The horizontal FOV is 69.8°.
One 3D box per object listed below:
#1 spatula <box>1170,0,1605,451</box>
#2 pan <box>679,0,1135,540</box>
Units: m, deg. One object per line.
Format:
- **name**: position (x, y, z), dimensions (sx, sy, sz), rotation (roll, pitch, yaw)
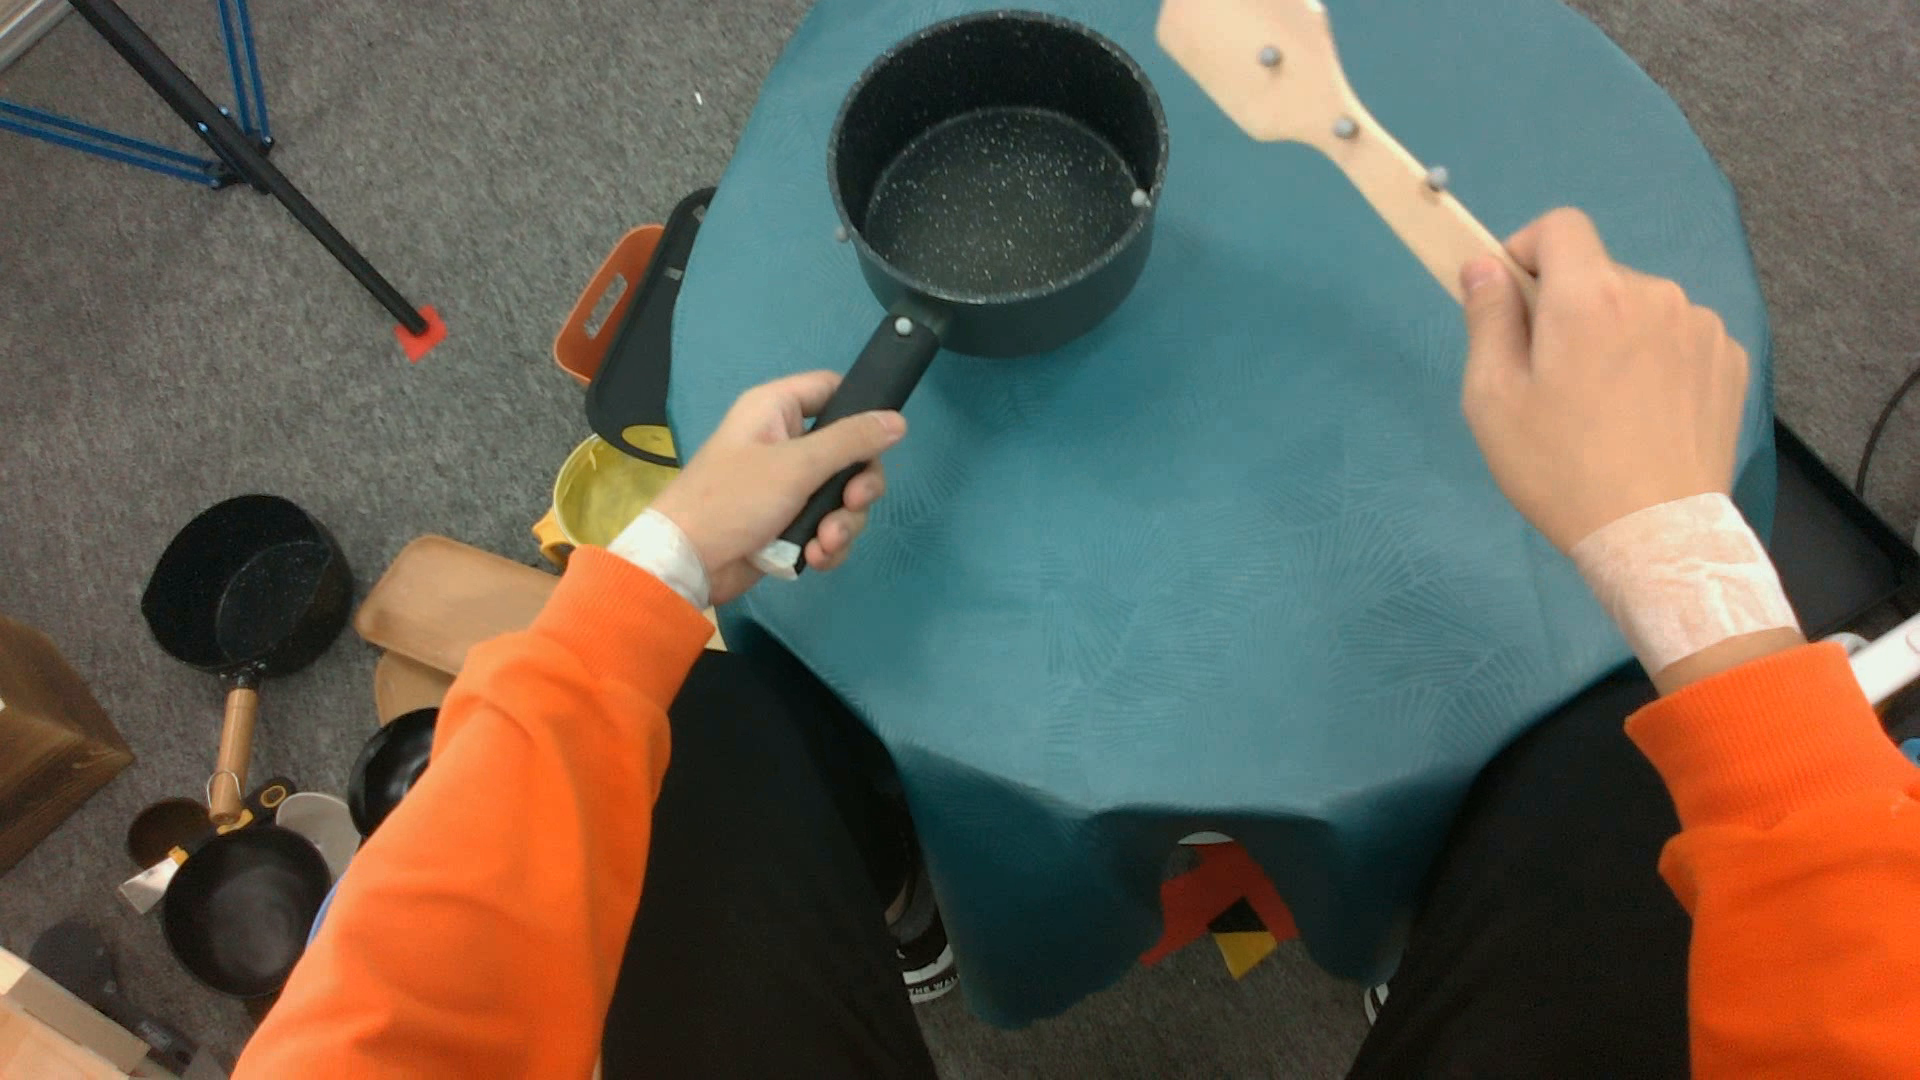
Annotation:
- **spatula**: position (0.177, -0.159, 0.578), dimensions (0.011, 0.072, 0.293), rotation (-10, 62, -35)
- **pan**: position (-0.033, -0.131, 0.697), dimensions (0.172, 0.086, 0.329), rotation (26, 73, 13)
